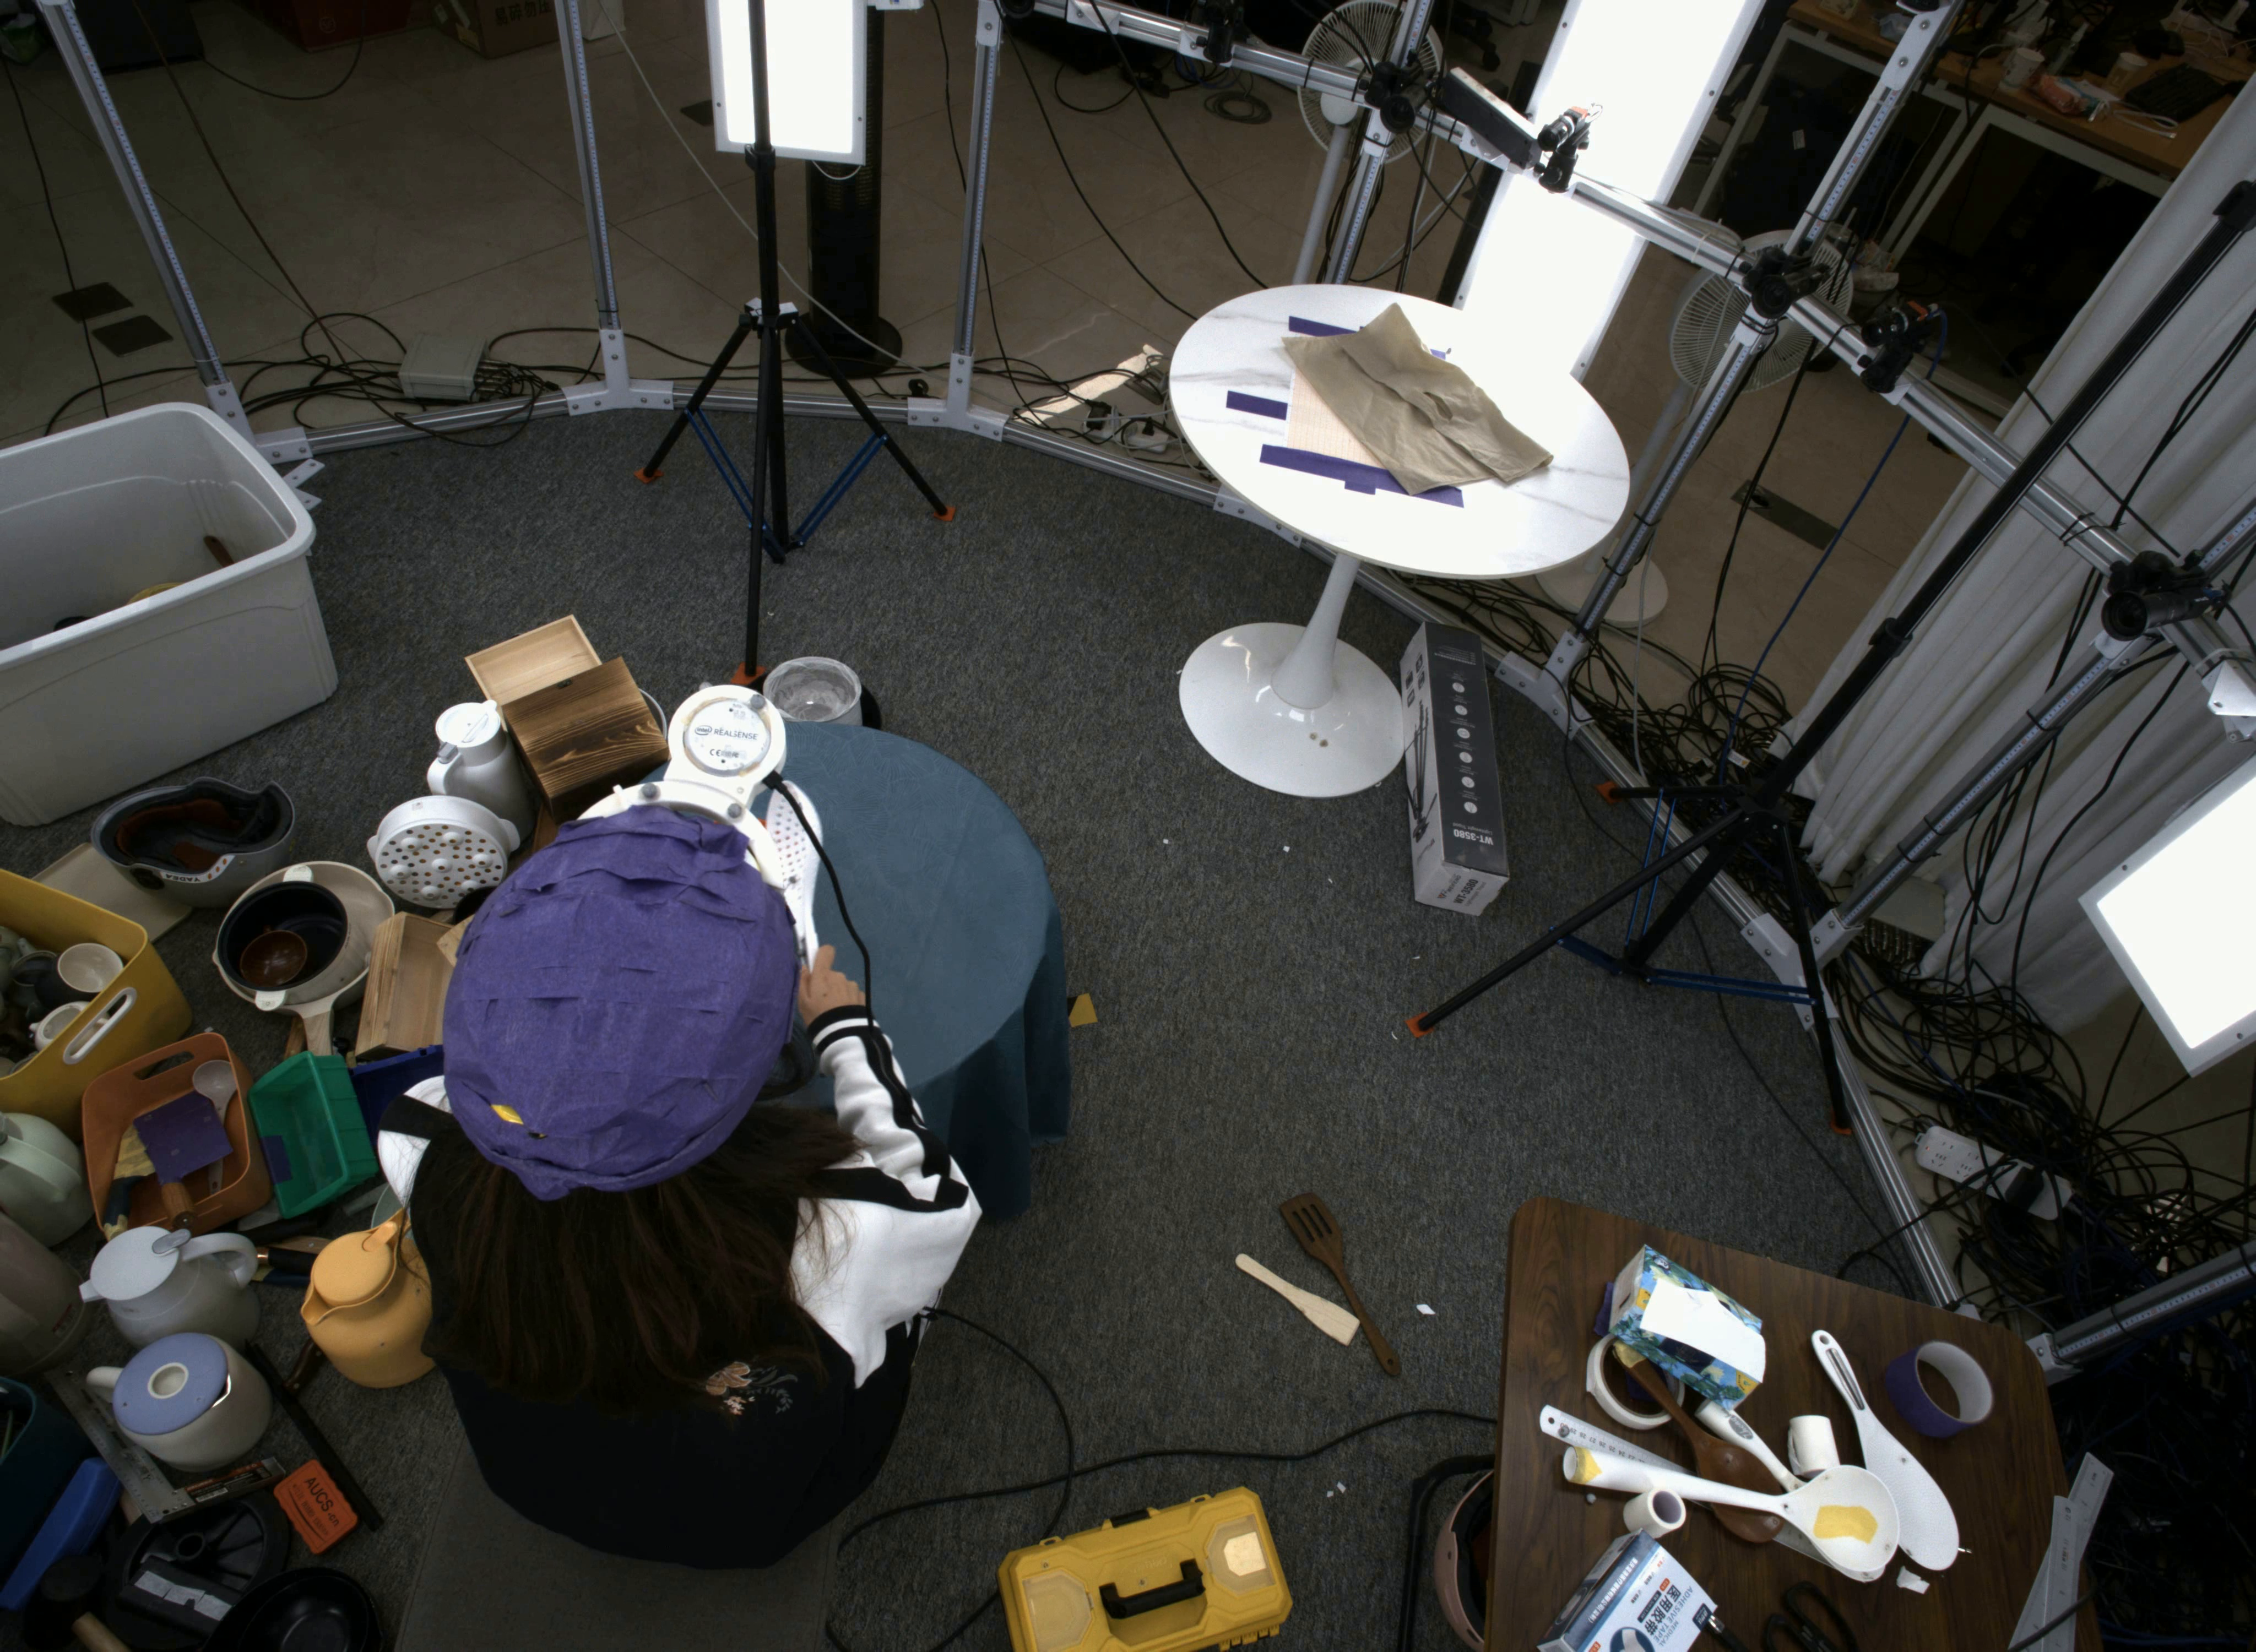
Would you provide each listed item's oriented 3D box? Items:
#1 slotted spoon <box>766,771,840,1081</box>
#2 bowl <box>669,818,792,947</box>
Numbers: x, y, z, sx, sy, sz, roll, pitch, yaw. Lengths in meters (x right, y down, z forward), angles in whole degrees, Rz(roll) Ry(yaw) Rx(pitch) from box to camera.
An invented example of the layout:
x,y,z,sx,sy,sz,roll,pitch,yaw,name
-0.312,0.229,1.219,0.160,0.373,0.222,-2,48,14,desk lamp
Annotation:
x,y,z,sx,sy,sz,roll,pitch,yaw,name
-0.355,0.107,1.451,0.047,0.133,0.346,18,58,-45,slotted spoon
-0.477,0.078,1.560,0.148,0.106,0.145,12,49,-12,bowl
